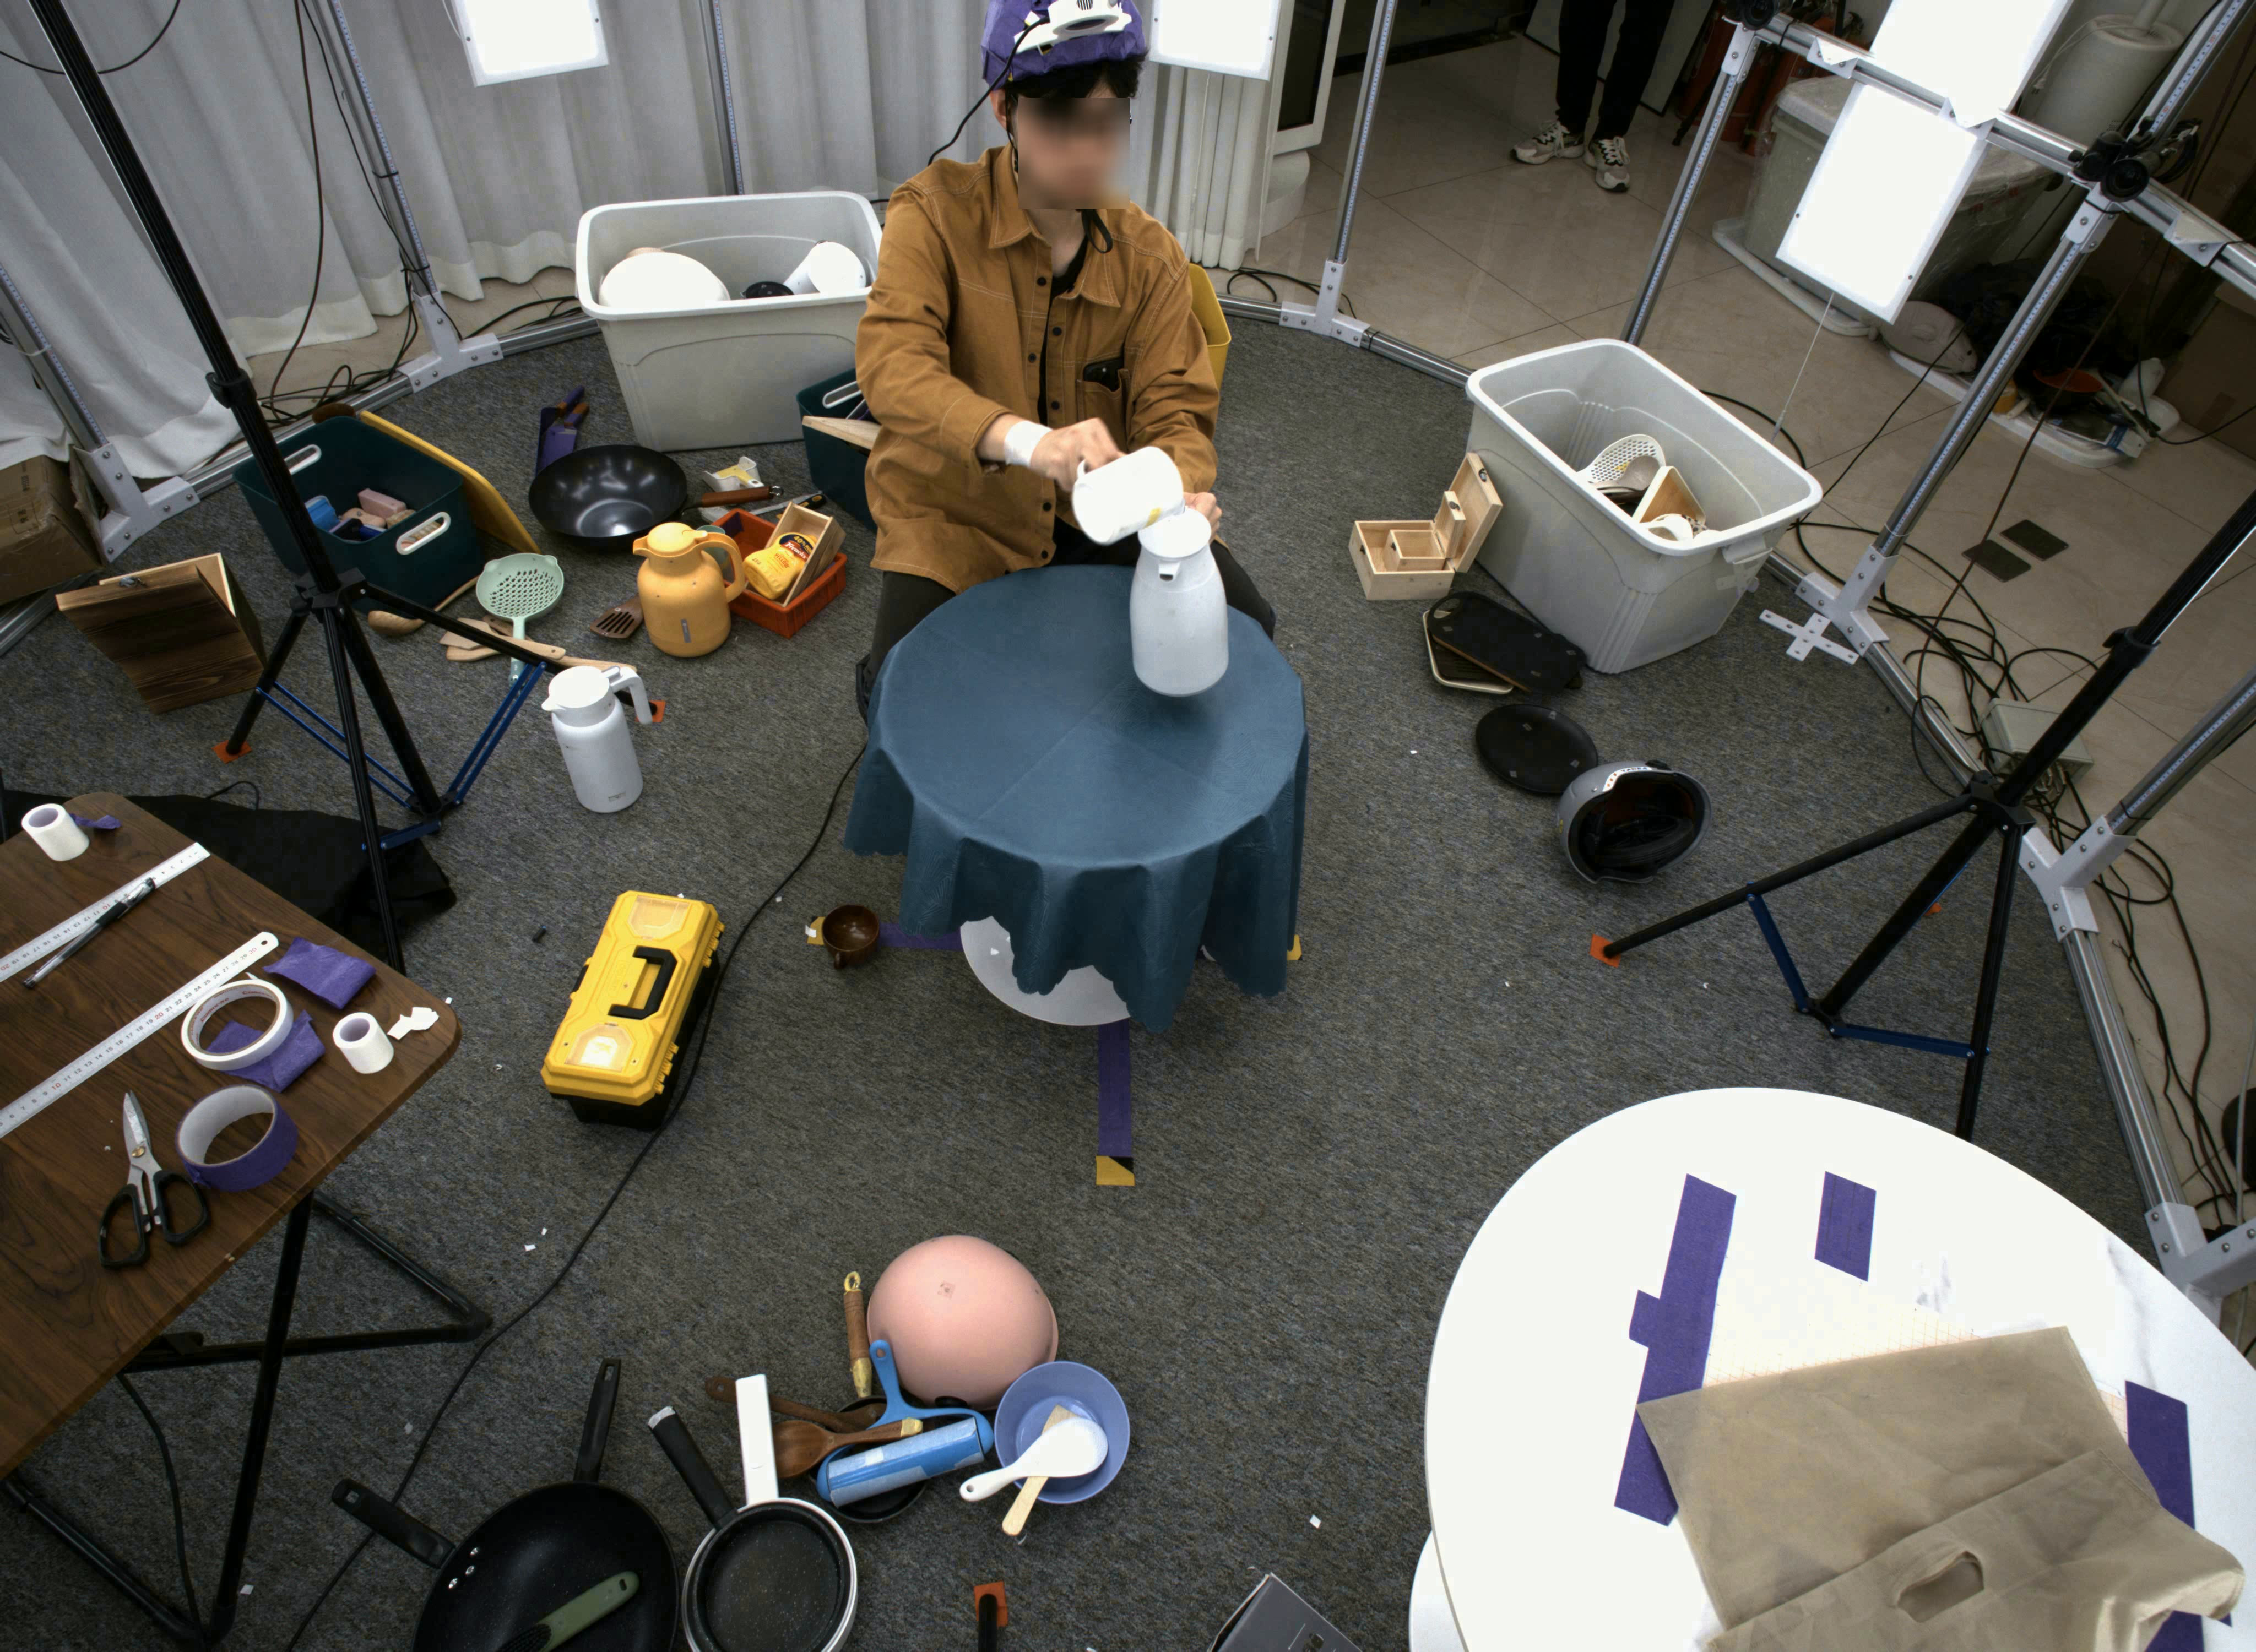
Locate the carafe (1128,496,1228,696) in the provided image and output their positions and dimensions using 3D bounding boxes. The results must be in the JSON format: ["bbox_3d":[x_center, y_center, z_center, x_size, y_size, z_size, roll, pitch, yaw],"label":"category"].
[{"bbox_3d":[0.064,-0.315,1.695,0.133,0.242,0.171,5,54,10],"label":"carafe"}]

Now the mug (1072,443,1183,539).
[{"bbox_3d":[-0.012,-0.396,1.493,0.102,0.083,0.120,-28,61,-31],"label":"mug"}]
